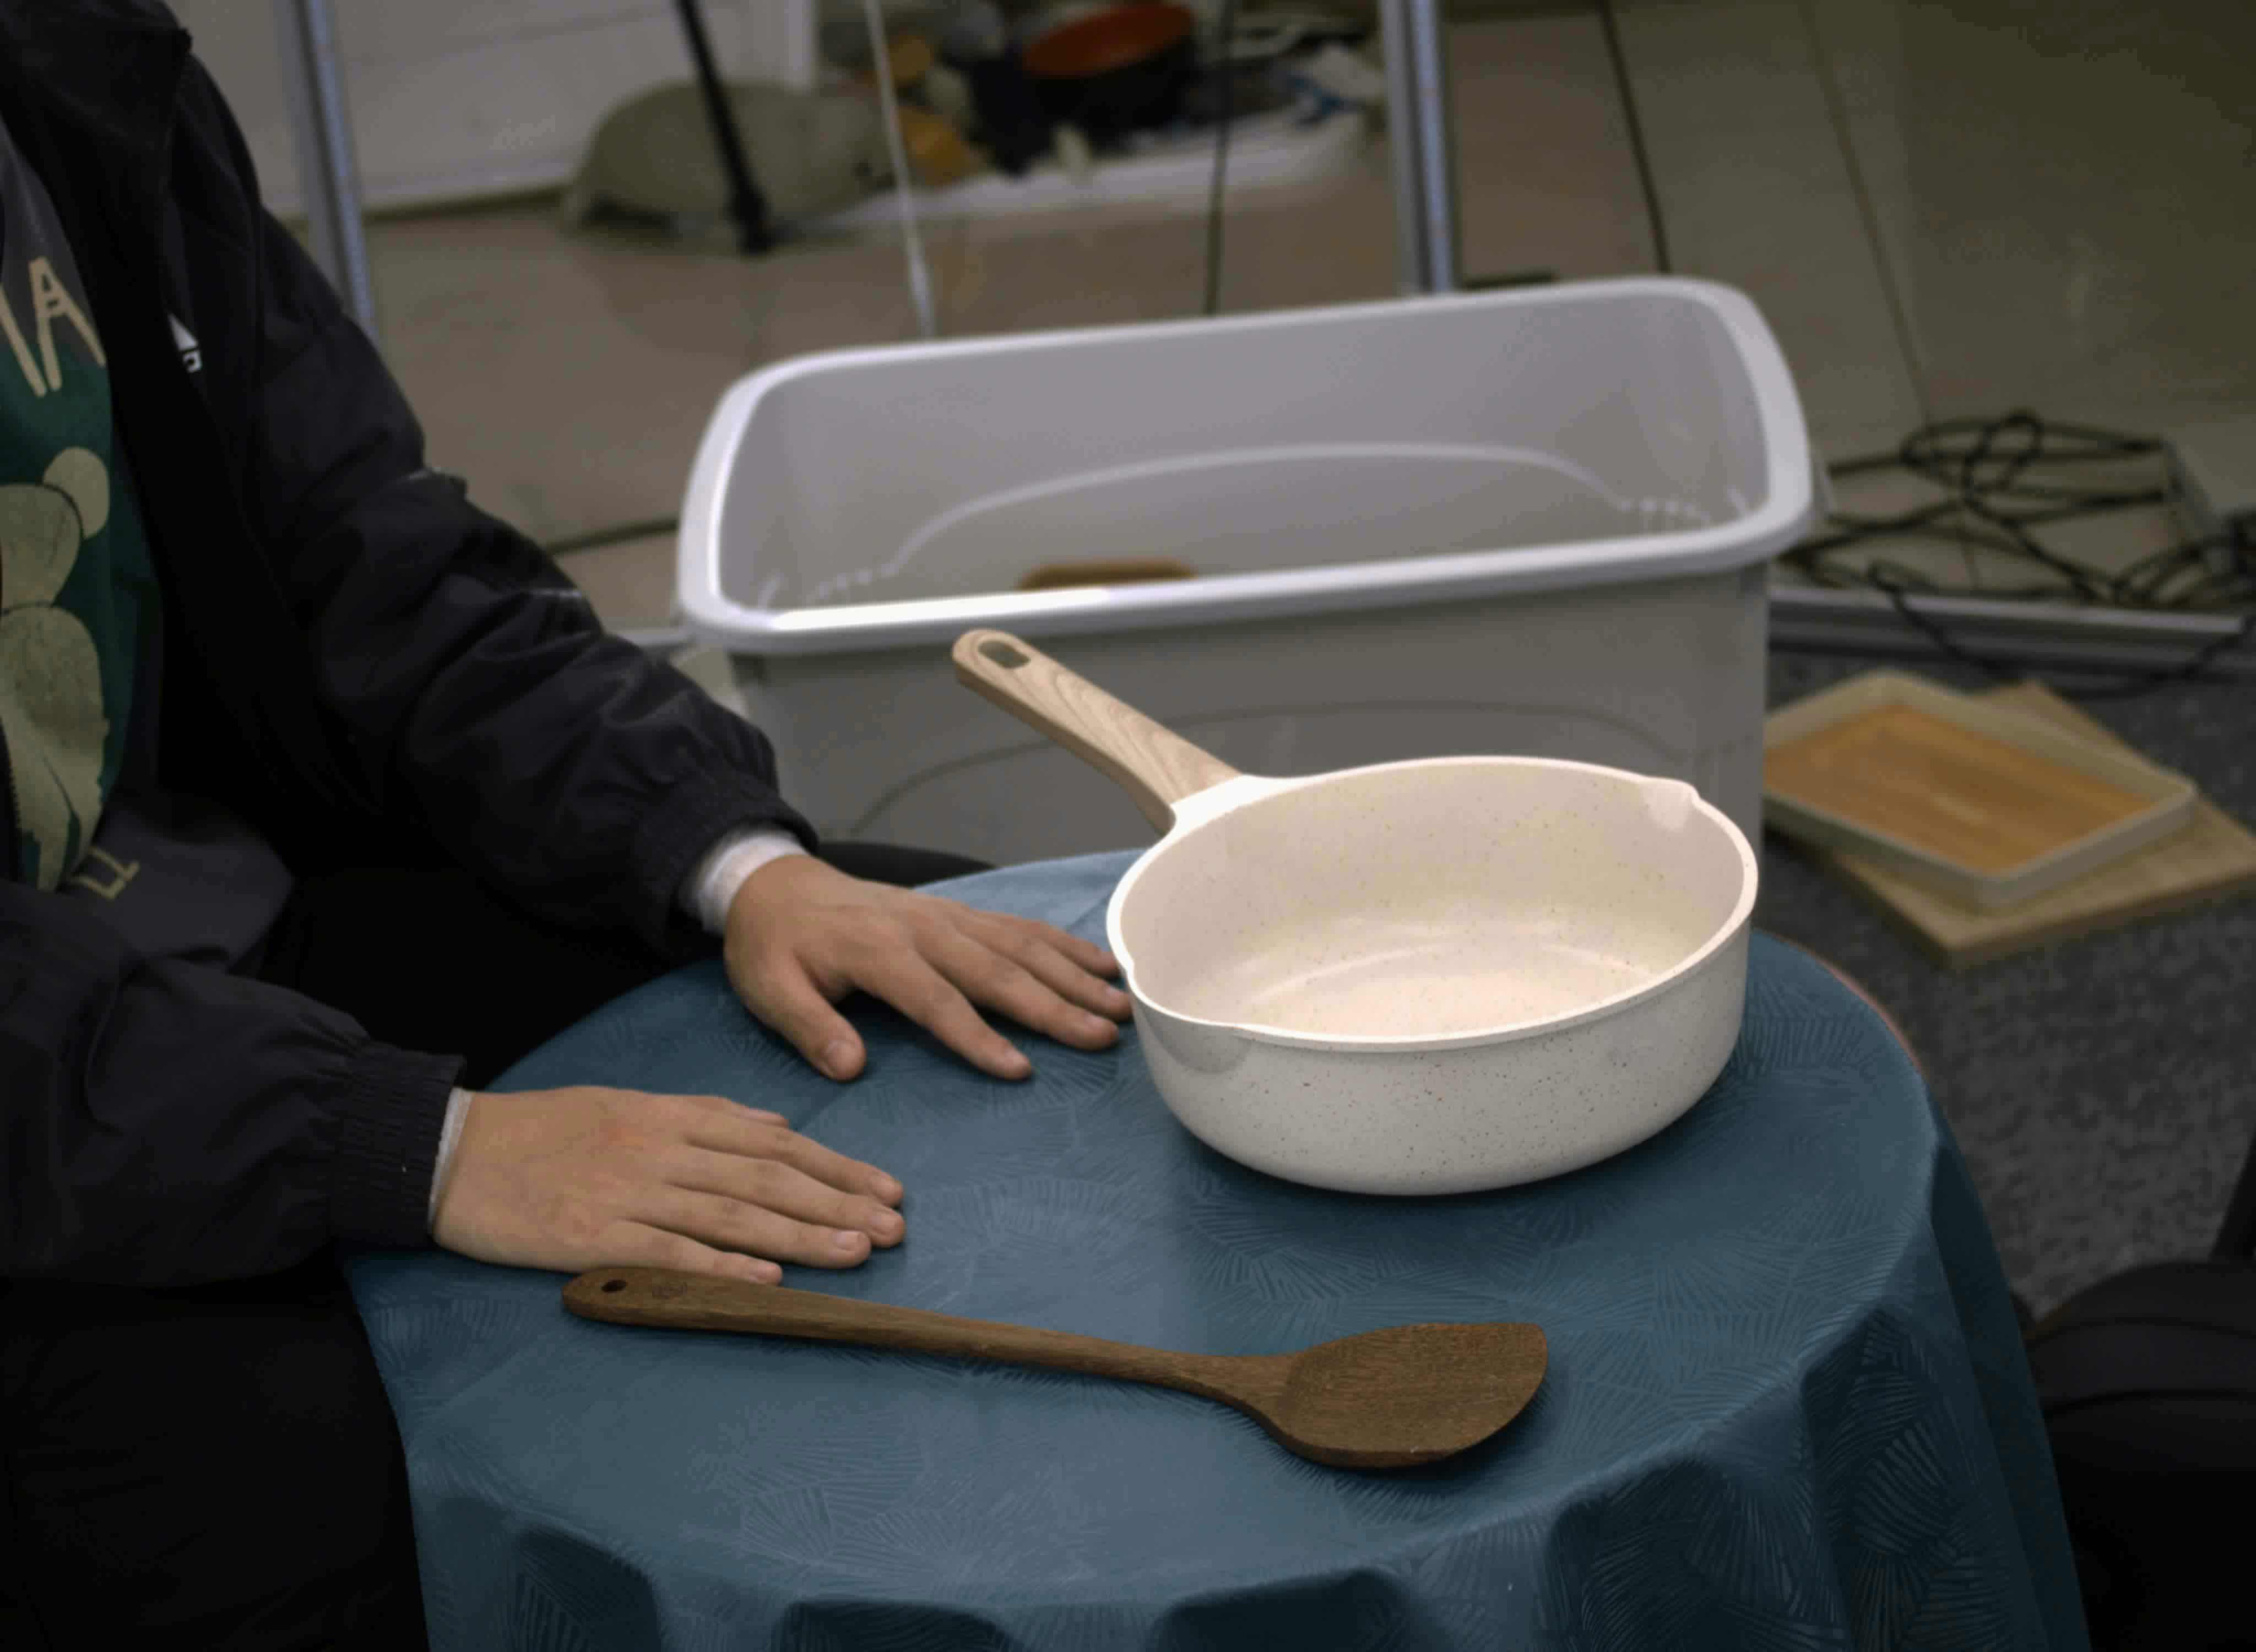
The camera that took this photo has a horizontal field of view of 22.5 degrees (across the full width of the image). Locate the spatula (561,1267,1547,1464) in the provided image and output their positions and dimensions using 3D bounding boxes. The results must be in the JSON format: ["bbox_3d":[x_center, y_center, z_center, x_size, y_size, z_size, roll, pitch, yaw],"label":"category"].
[{"bbox_3d":[-0.036,0.186,2.036,0.385,0.016,0.095,5,26,24],"label":"spatula"}]

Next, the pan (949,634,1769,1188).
[{"bbox_3d":[0.069,0.025,2.253,0.261,0.103,0.430,-24,30,-30],"label":"pan"}]
